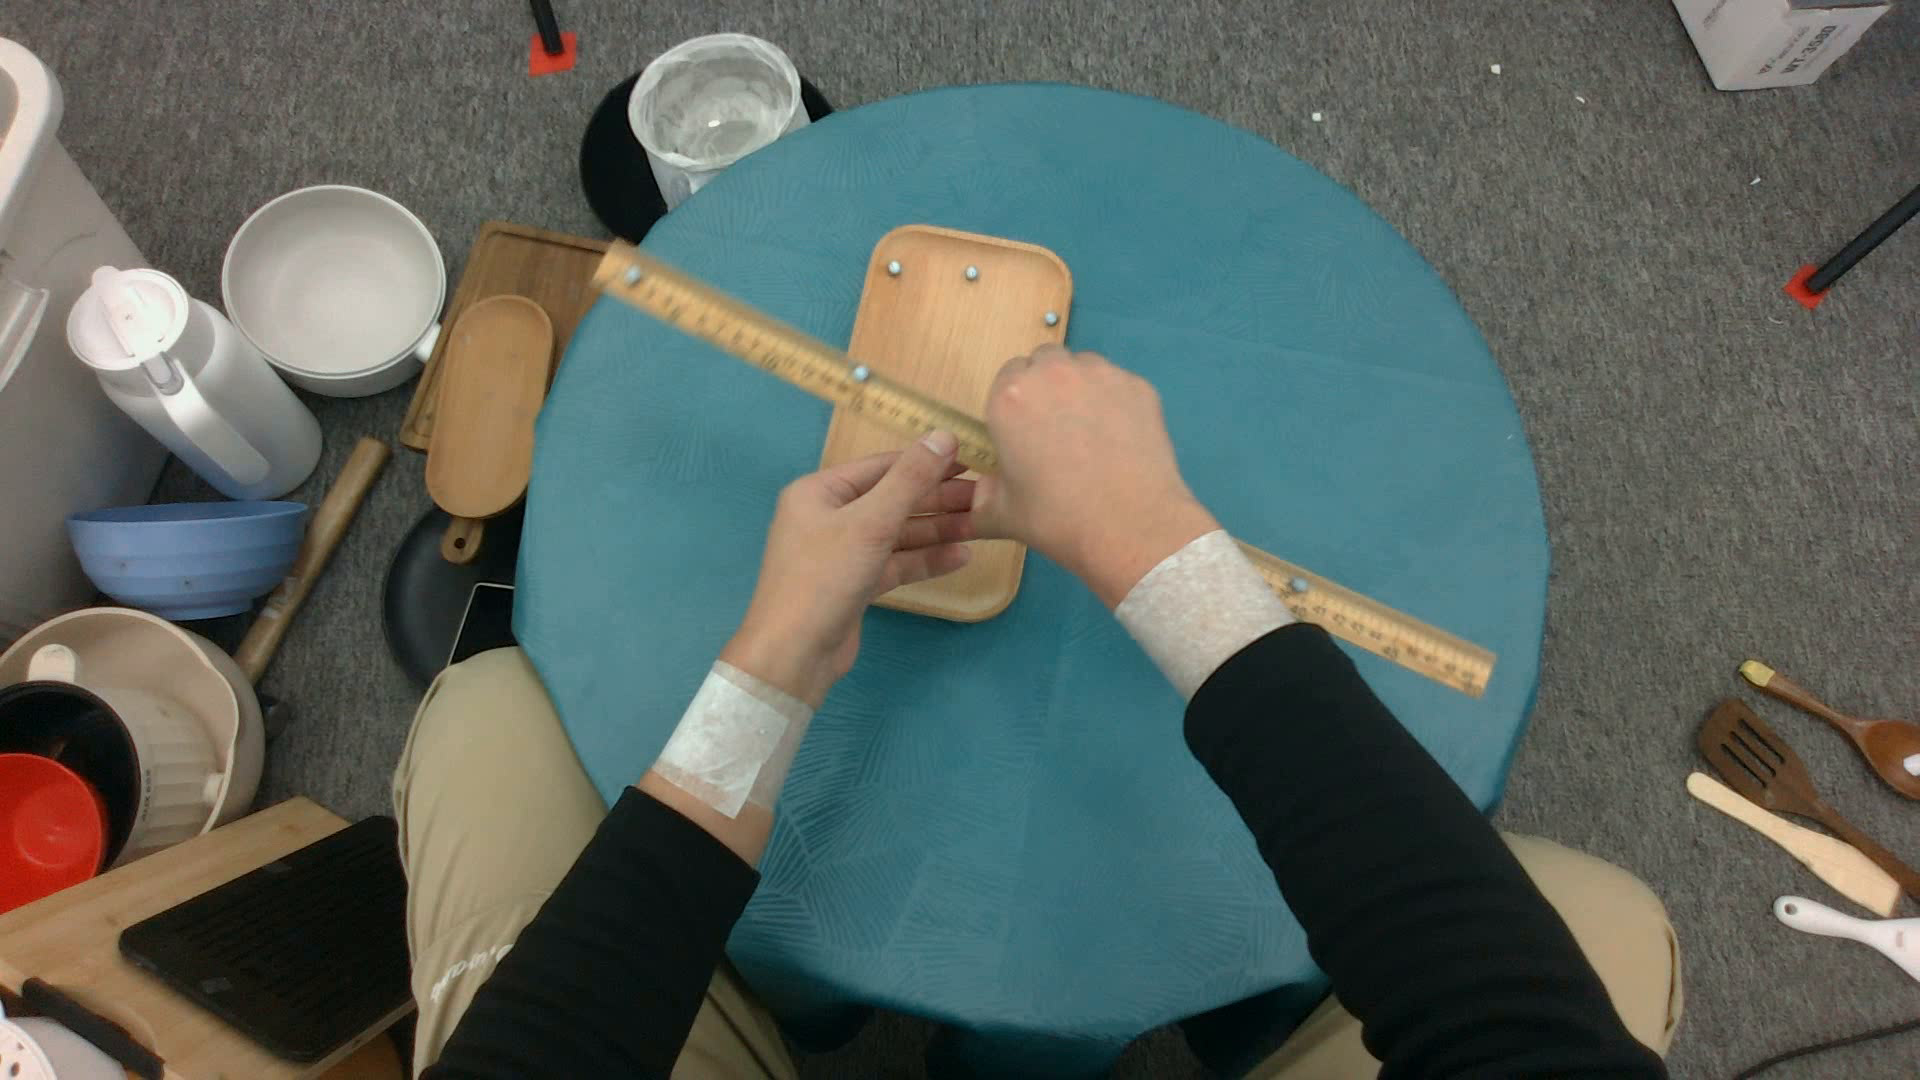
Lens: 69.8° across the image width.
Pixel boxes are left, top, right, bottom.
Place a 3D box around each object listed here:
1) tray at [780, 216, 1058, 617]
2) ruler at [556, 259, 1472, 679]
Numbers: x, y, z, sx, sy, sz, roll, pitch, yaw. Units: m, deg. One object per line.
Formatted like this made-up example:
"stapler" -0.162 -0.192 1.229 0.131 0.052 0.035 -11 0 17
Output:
"tray" -0.021 -0.078 0.817 0.130 0.023 0.251 11 69 3
"ruler" 0.027 -0.036 0.703 0.500 0.006 0.027 23 84 1
